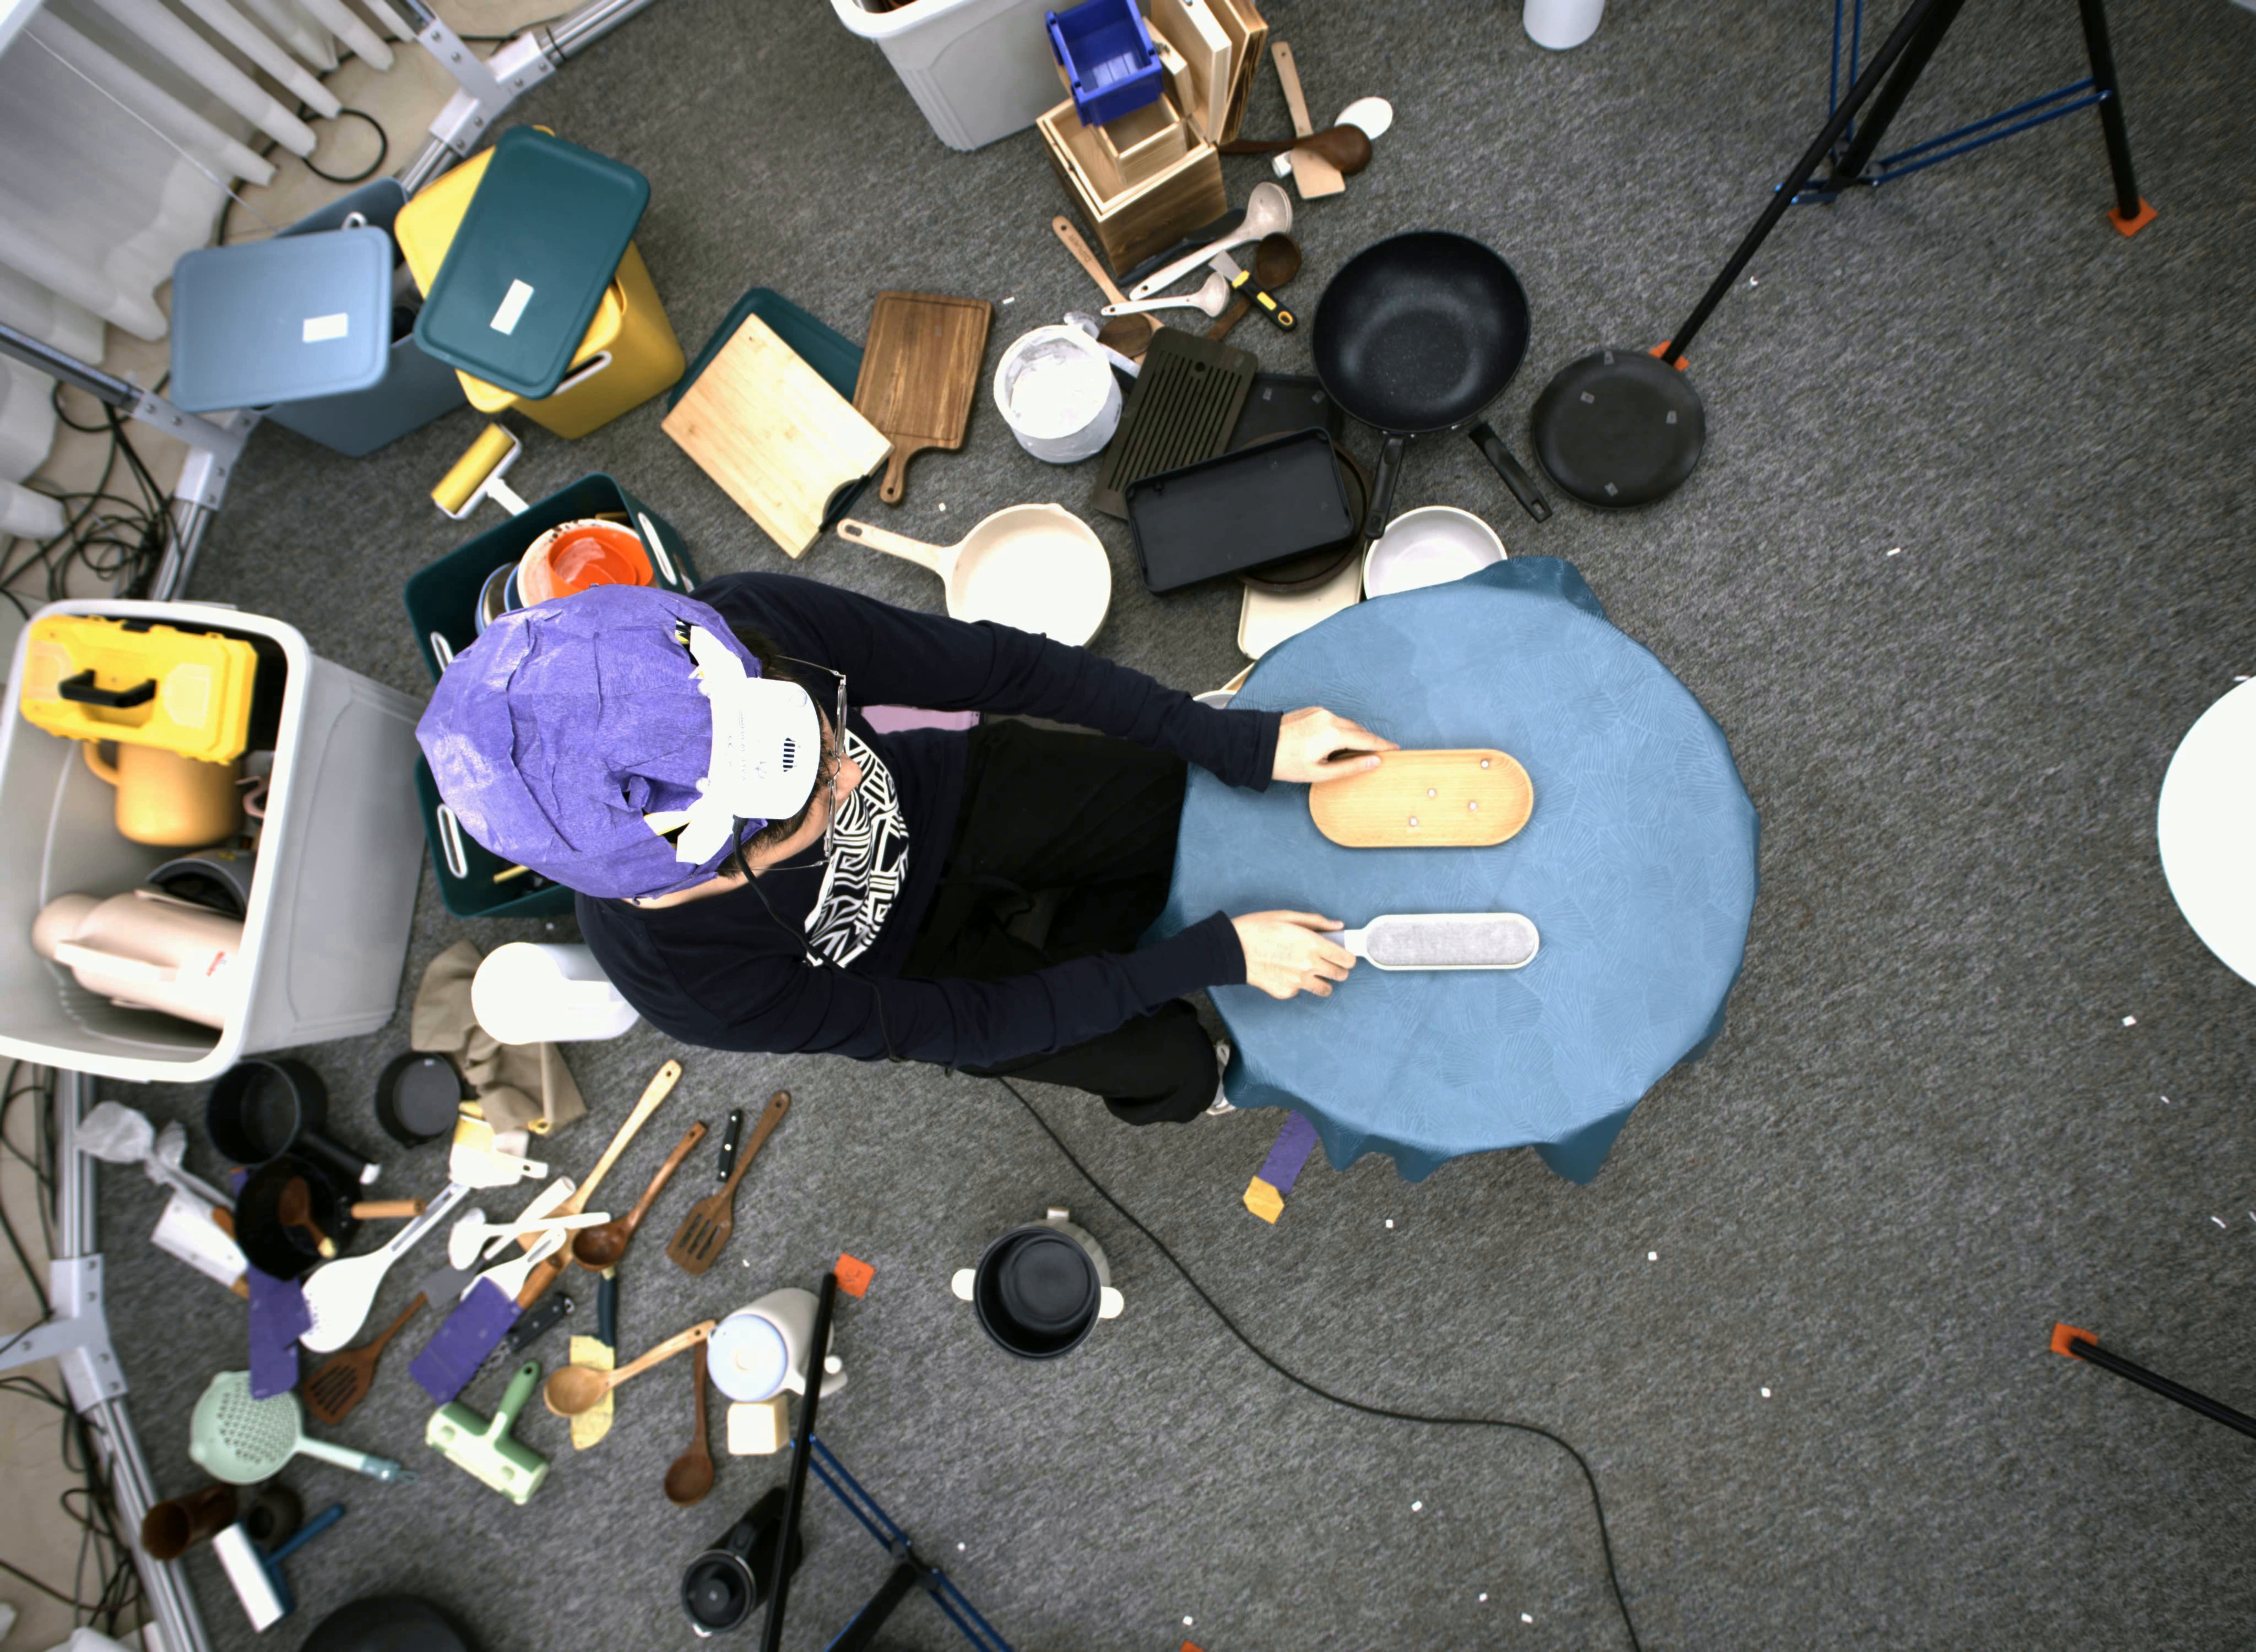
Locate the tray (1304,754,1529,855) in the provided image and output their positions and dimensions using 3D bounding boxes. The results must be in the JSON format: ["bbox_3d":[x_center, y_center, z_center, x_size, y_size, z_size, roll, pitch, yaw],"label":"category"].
[{"bbox_3d":[0.301,-0.024,1.442,0.232,0.020,0.102,-2,94,12],"label":"tray"}]

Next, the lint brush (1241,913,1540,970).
[{"bbox_3d":[0.272,0.119,1.438,0.310,0.021,0.060,-1,94,8],"label":"lint brush"}]
